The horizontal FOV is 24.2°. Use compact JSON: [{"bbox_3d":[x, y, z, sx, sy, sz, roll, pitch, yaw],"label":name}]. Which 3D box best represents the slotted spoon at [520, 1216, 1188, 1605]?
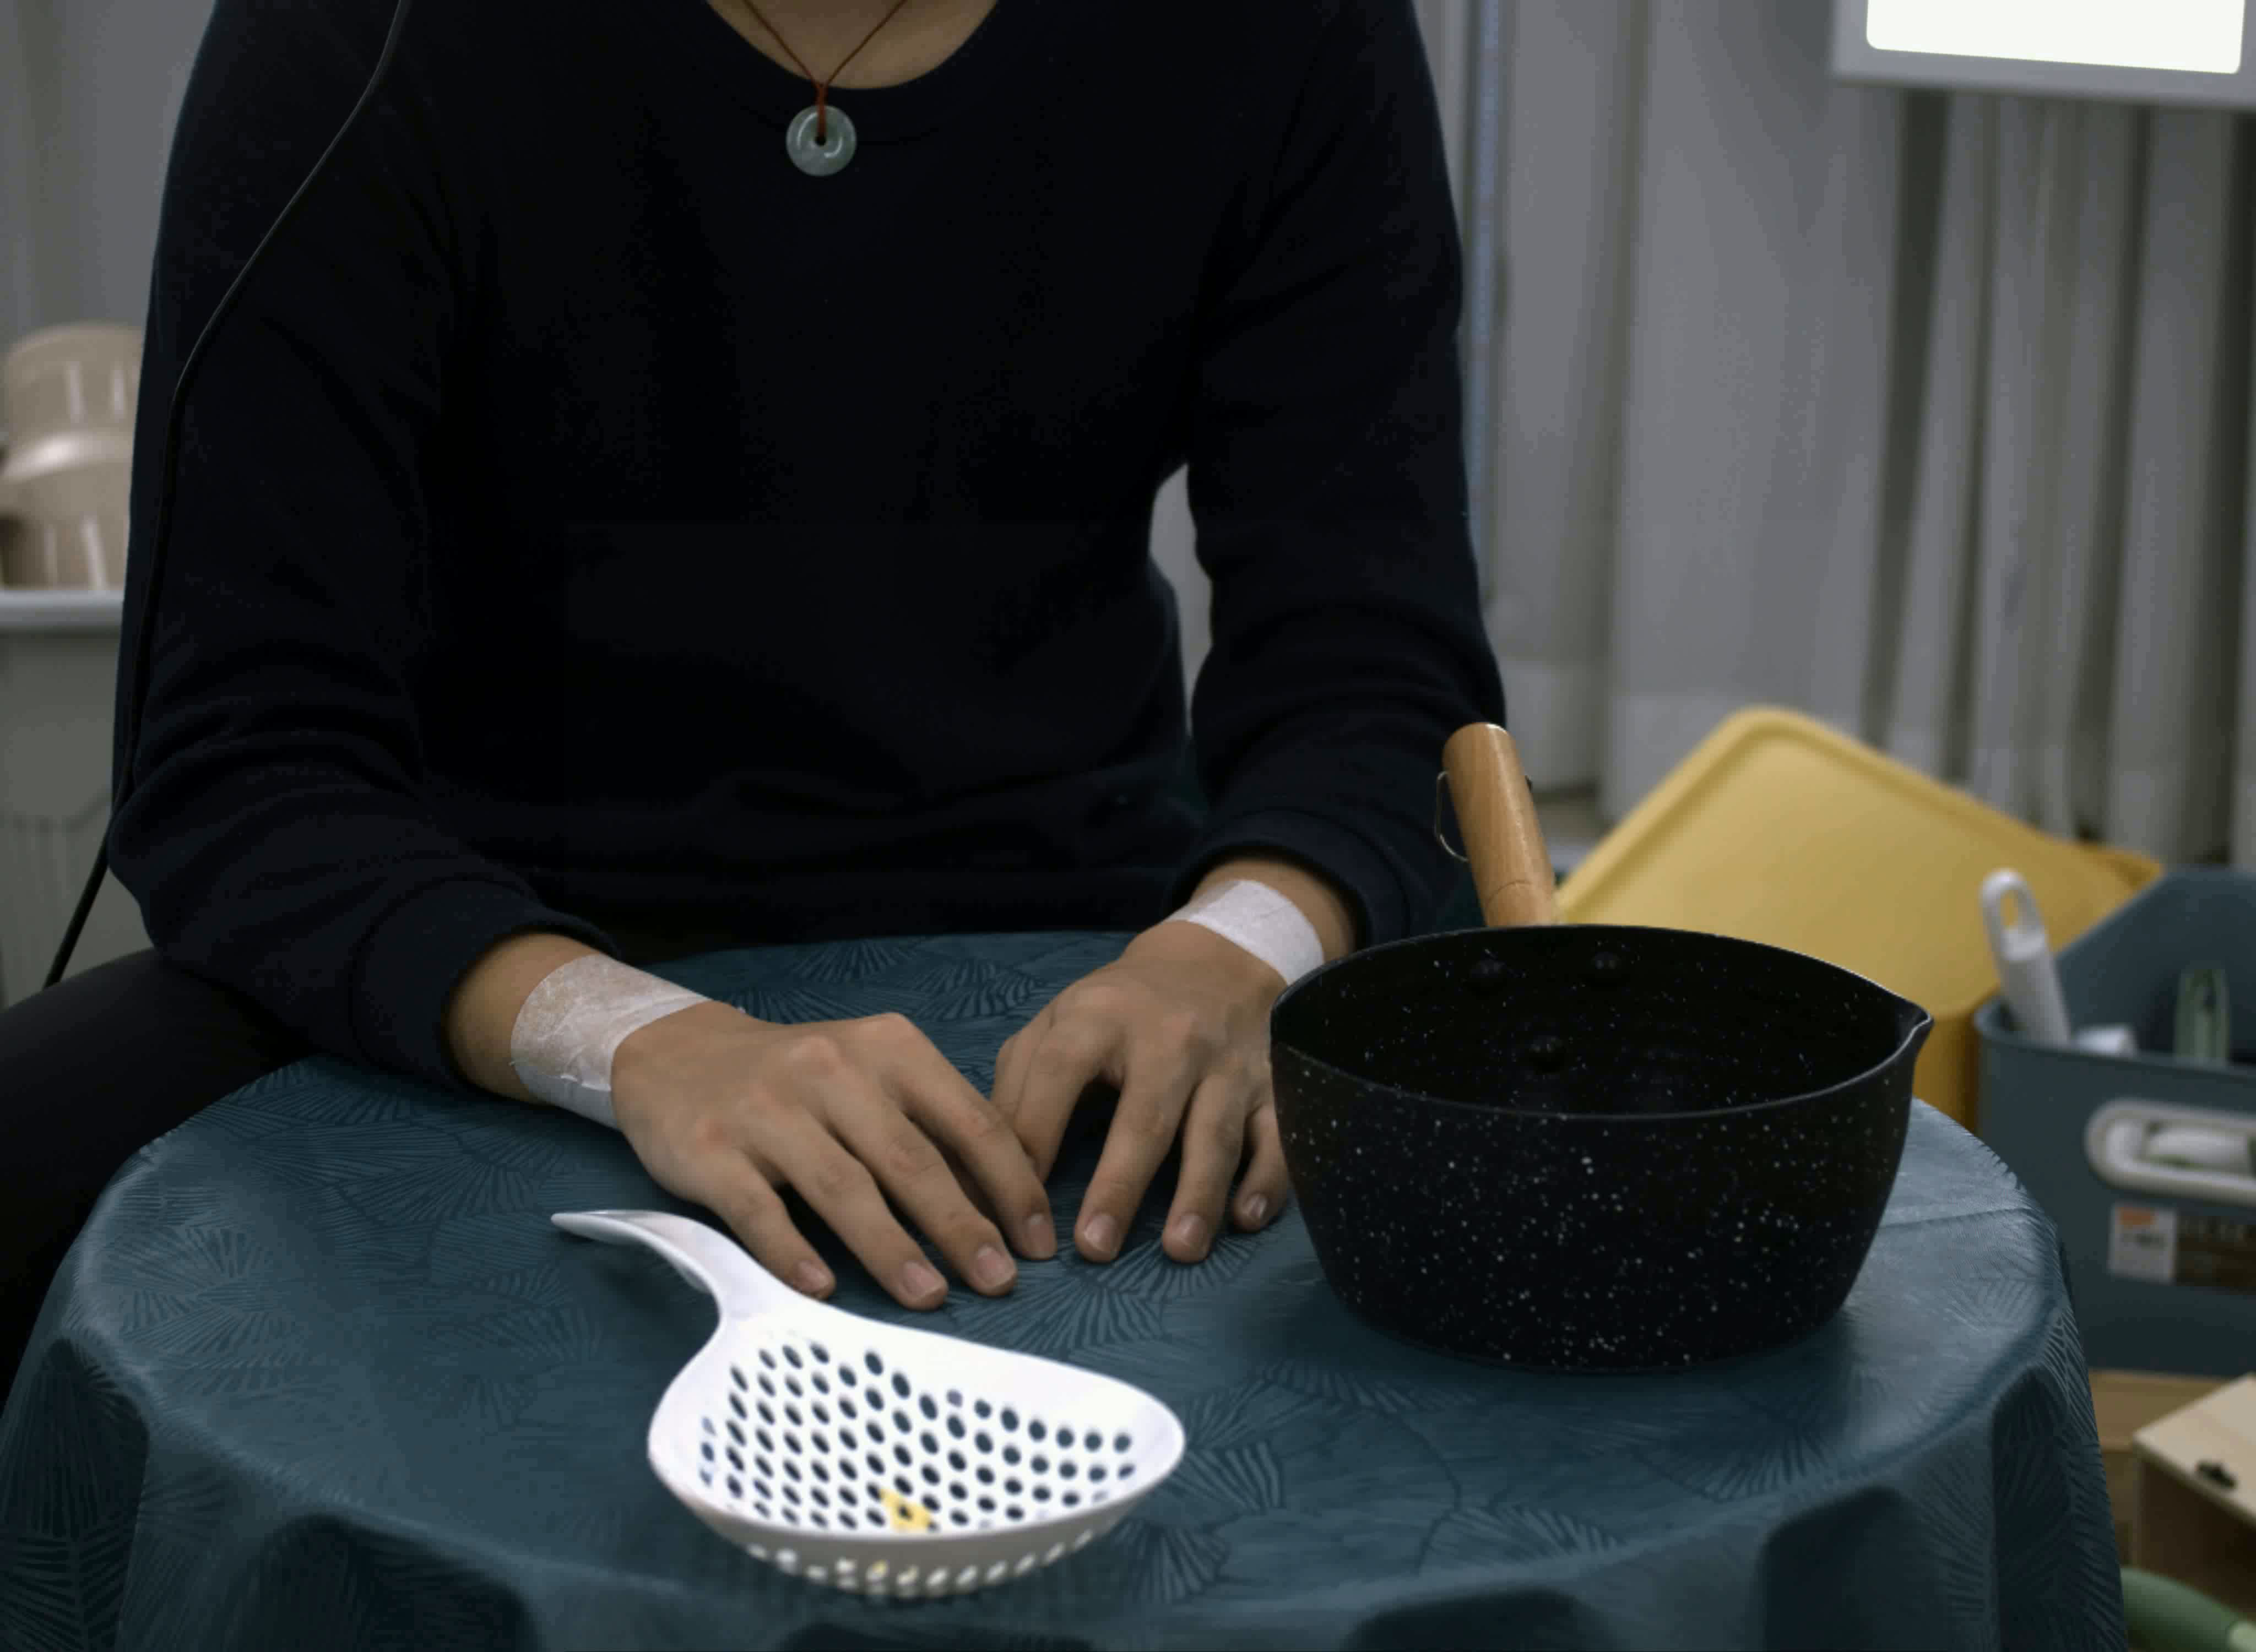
[{"bbox_3d":[-0.099,0.143,1.428,0.137,0.051,0.343,-8,19,-23],"label":"slotted spoon"}]

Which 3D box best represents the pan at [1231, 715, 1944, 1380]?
[{"bbox_3d":[0.127,0.062,1.605,0.207,0.109,0.340,-2,17,-5],"label":"pan"}]
